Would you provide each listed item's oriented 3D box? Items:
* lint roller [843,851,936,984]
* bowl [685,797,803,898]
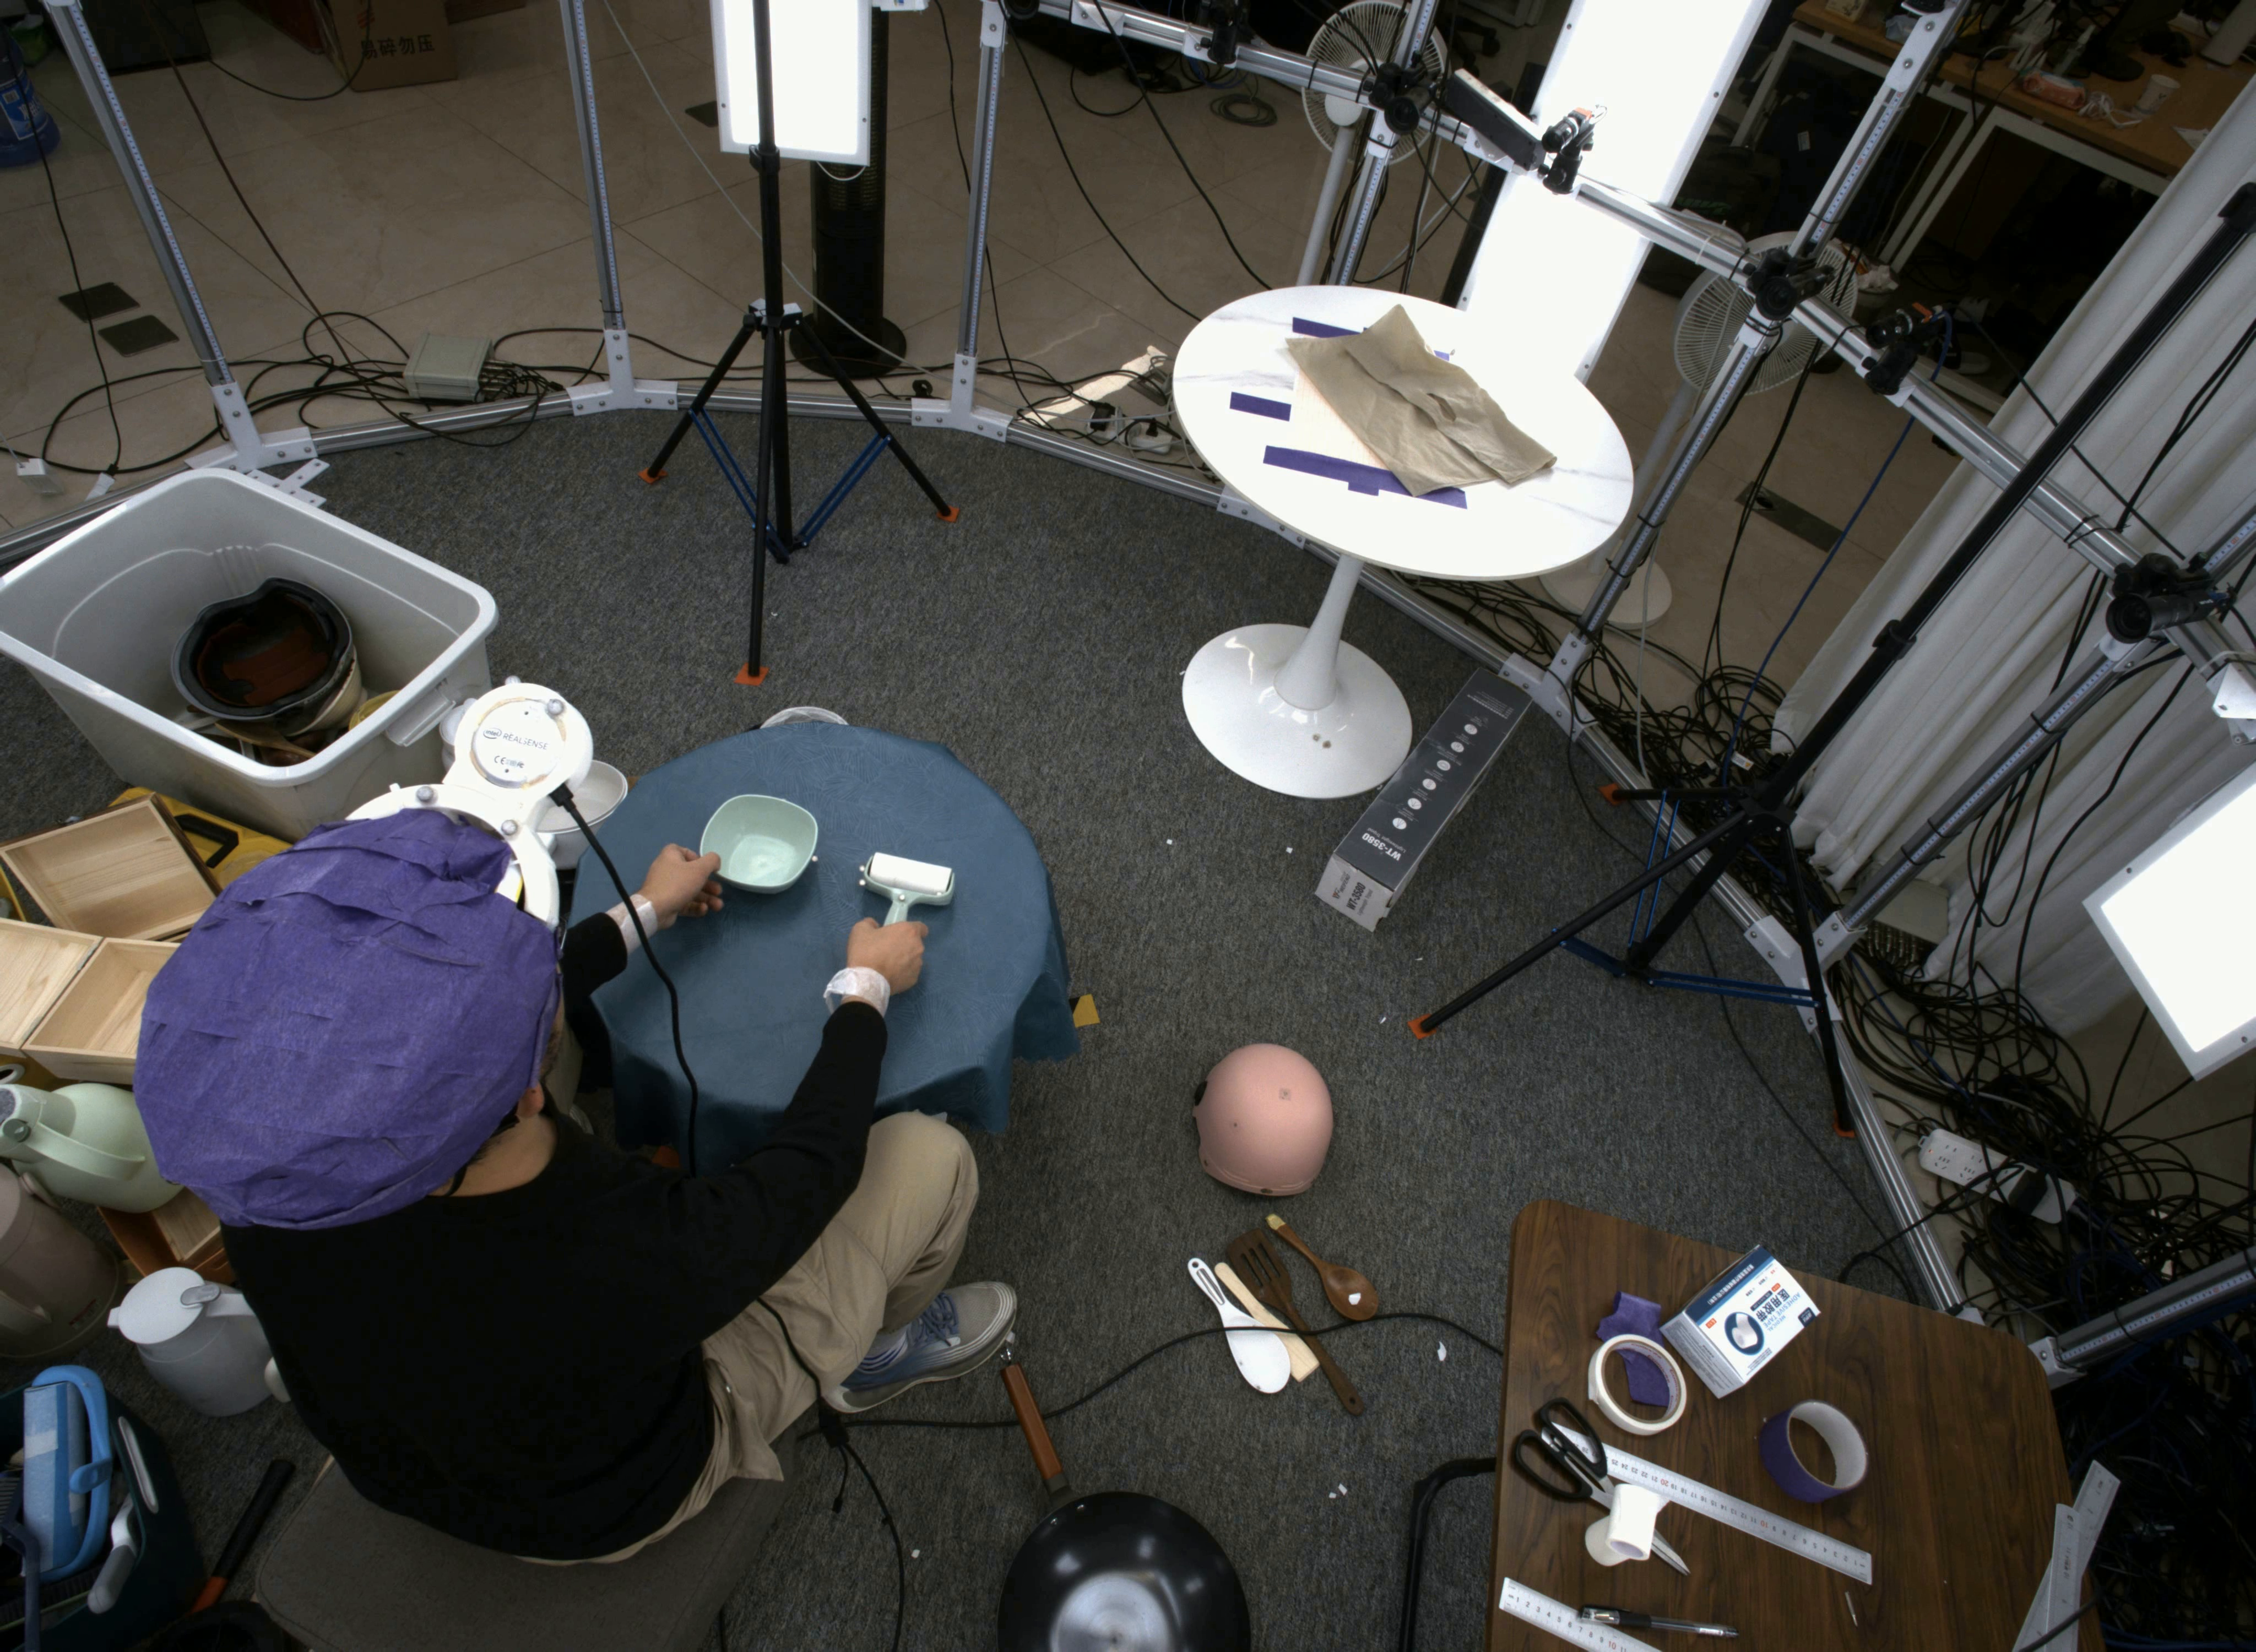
[{"bbox_3d":[-0.308,0.109,1.617,0.116,0.049,0.193,12,40,-8],"label":"lint roller"},{"bbox_3d":[-0.485,0.036,1.639,0.151,0.060,0.149,9,52,-9],"label":"bowl"}]
